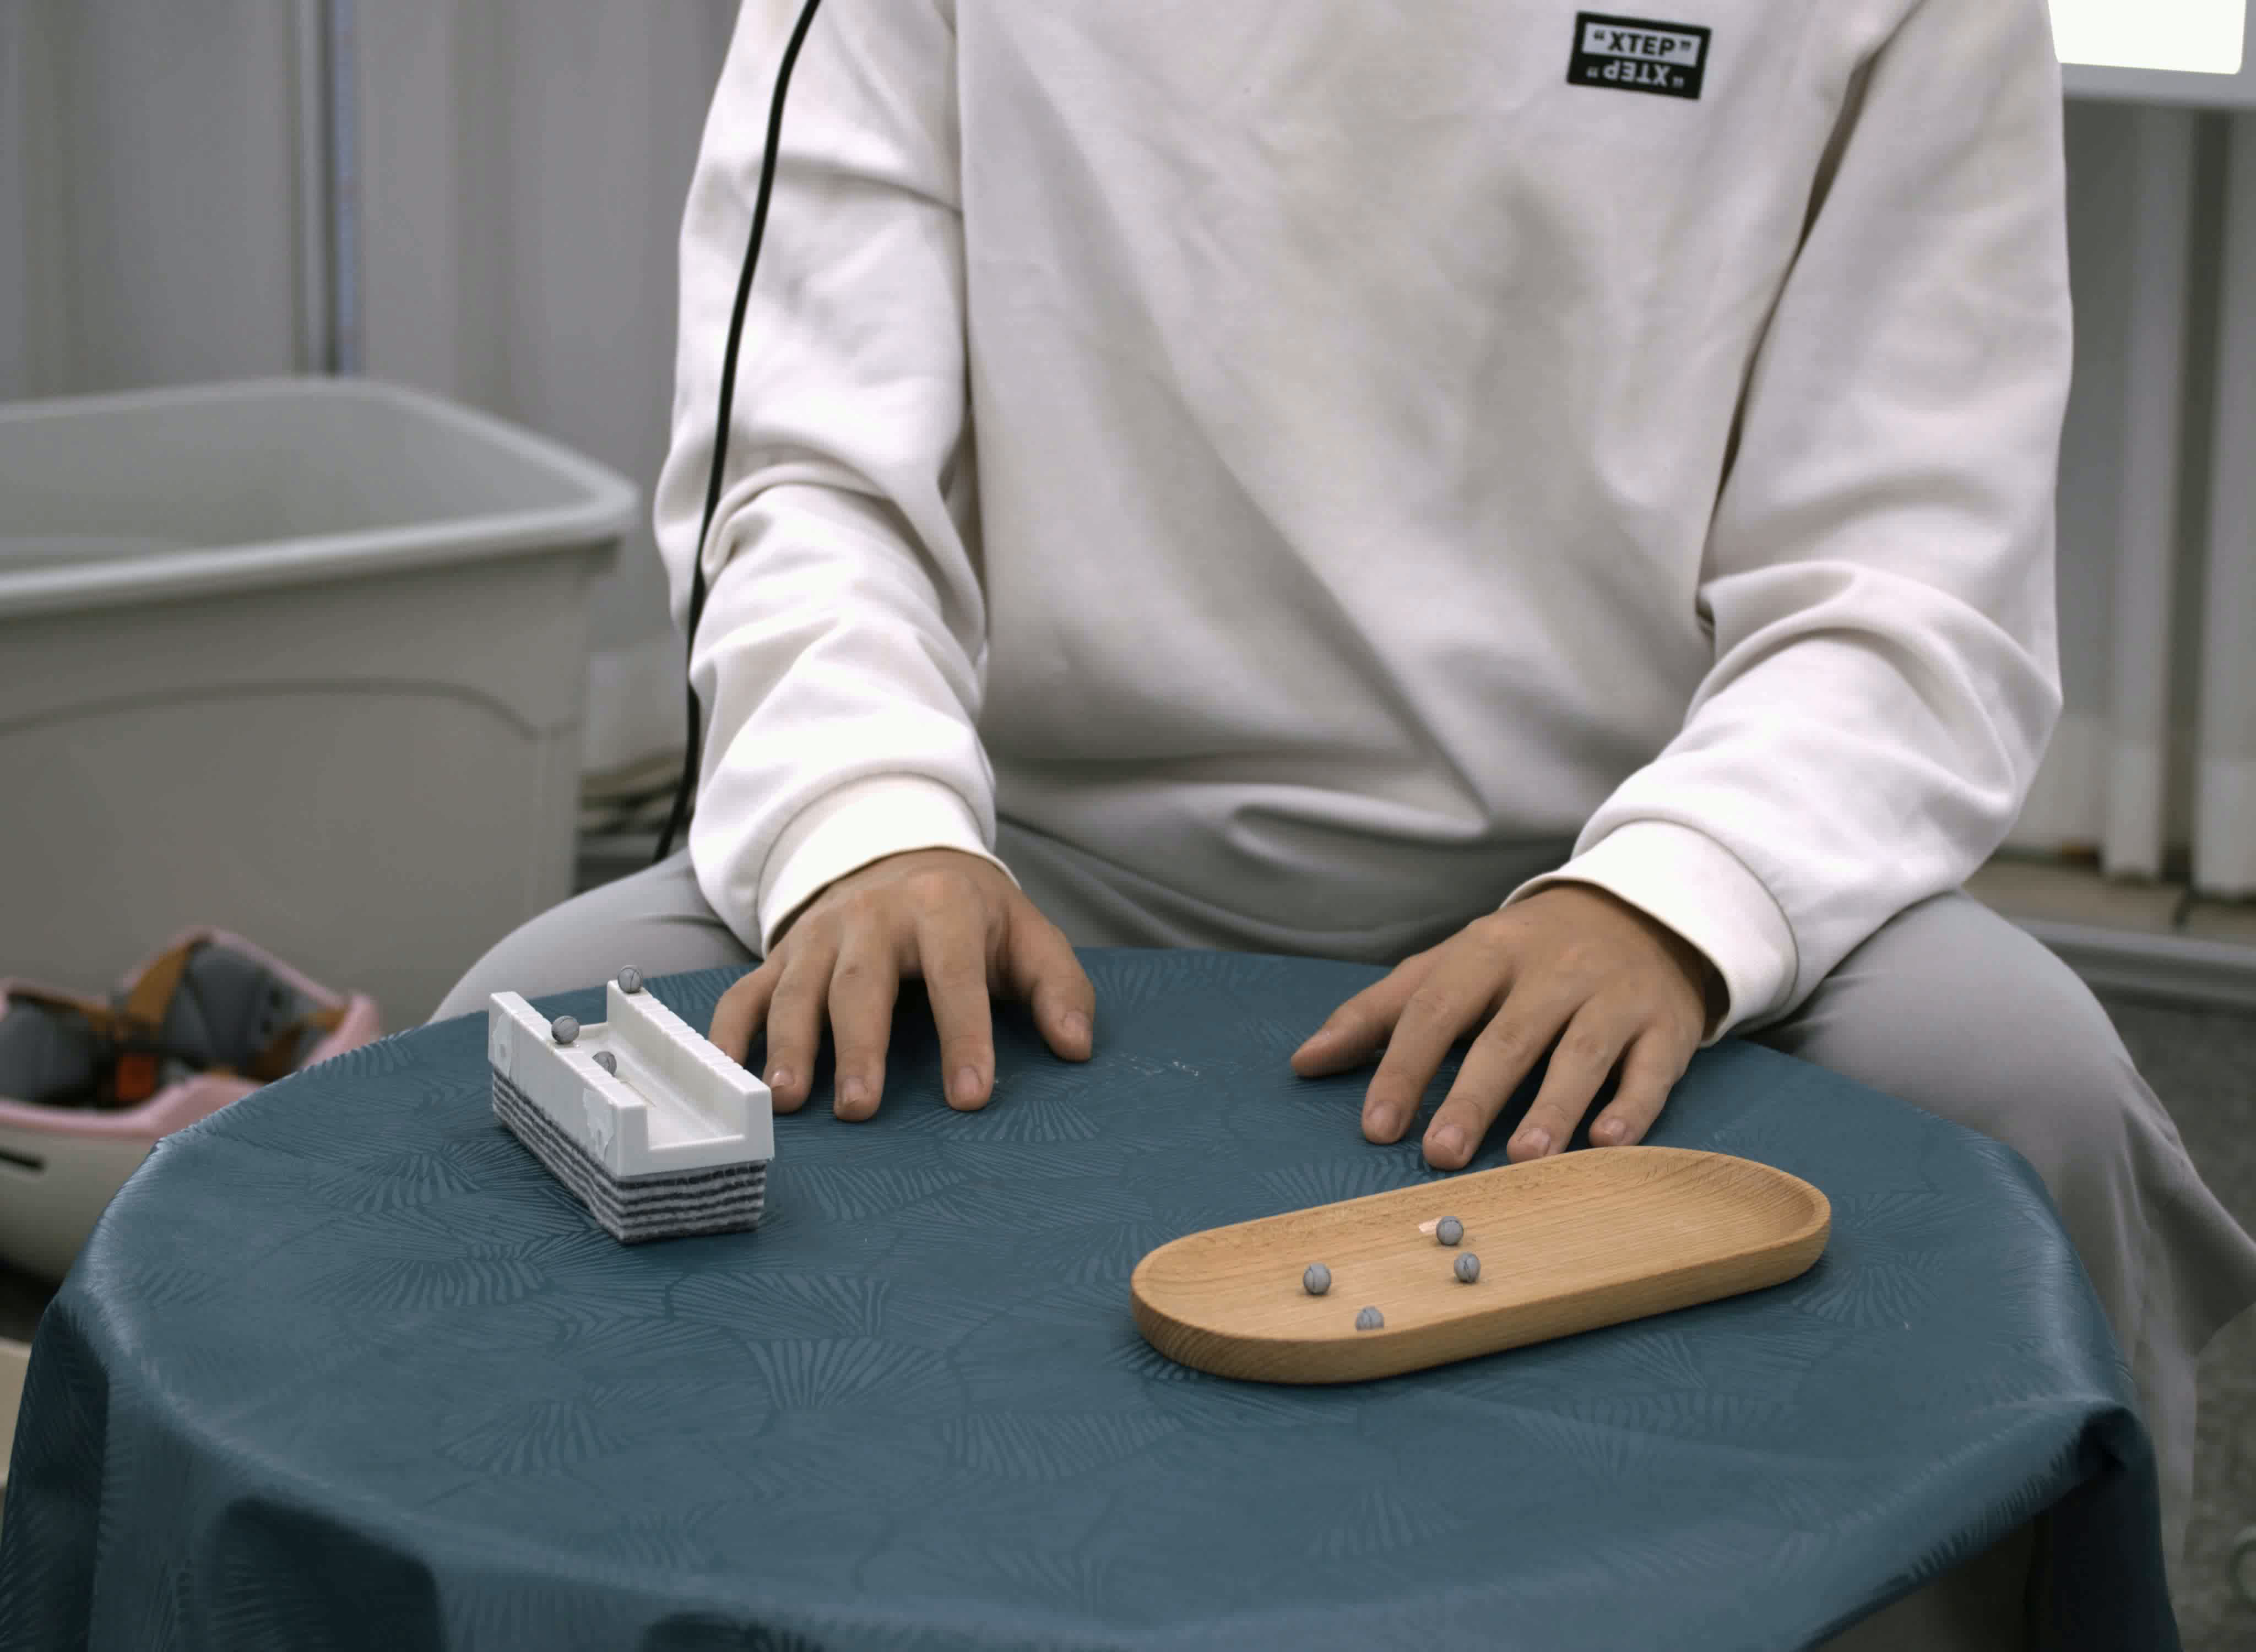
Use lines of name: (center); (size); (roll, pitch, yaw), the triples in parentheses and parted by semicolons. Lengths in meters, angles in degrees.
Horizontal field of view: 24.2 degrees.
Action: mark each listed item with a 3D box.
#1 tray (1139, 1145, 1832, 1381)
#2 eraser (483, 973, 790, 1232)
tray: (0.107, 0.128, 1.550); (0.232, 0.020, 0.100); (-8, 19, -34)
eraser: (-0.154, 0.085, 1.631); (0.050, 0.047, 0.132); (-2, 14, -28)
